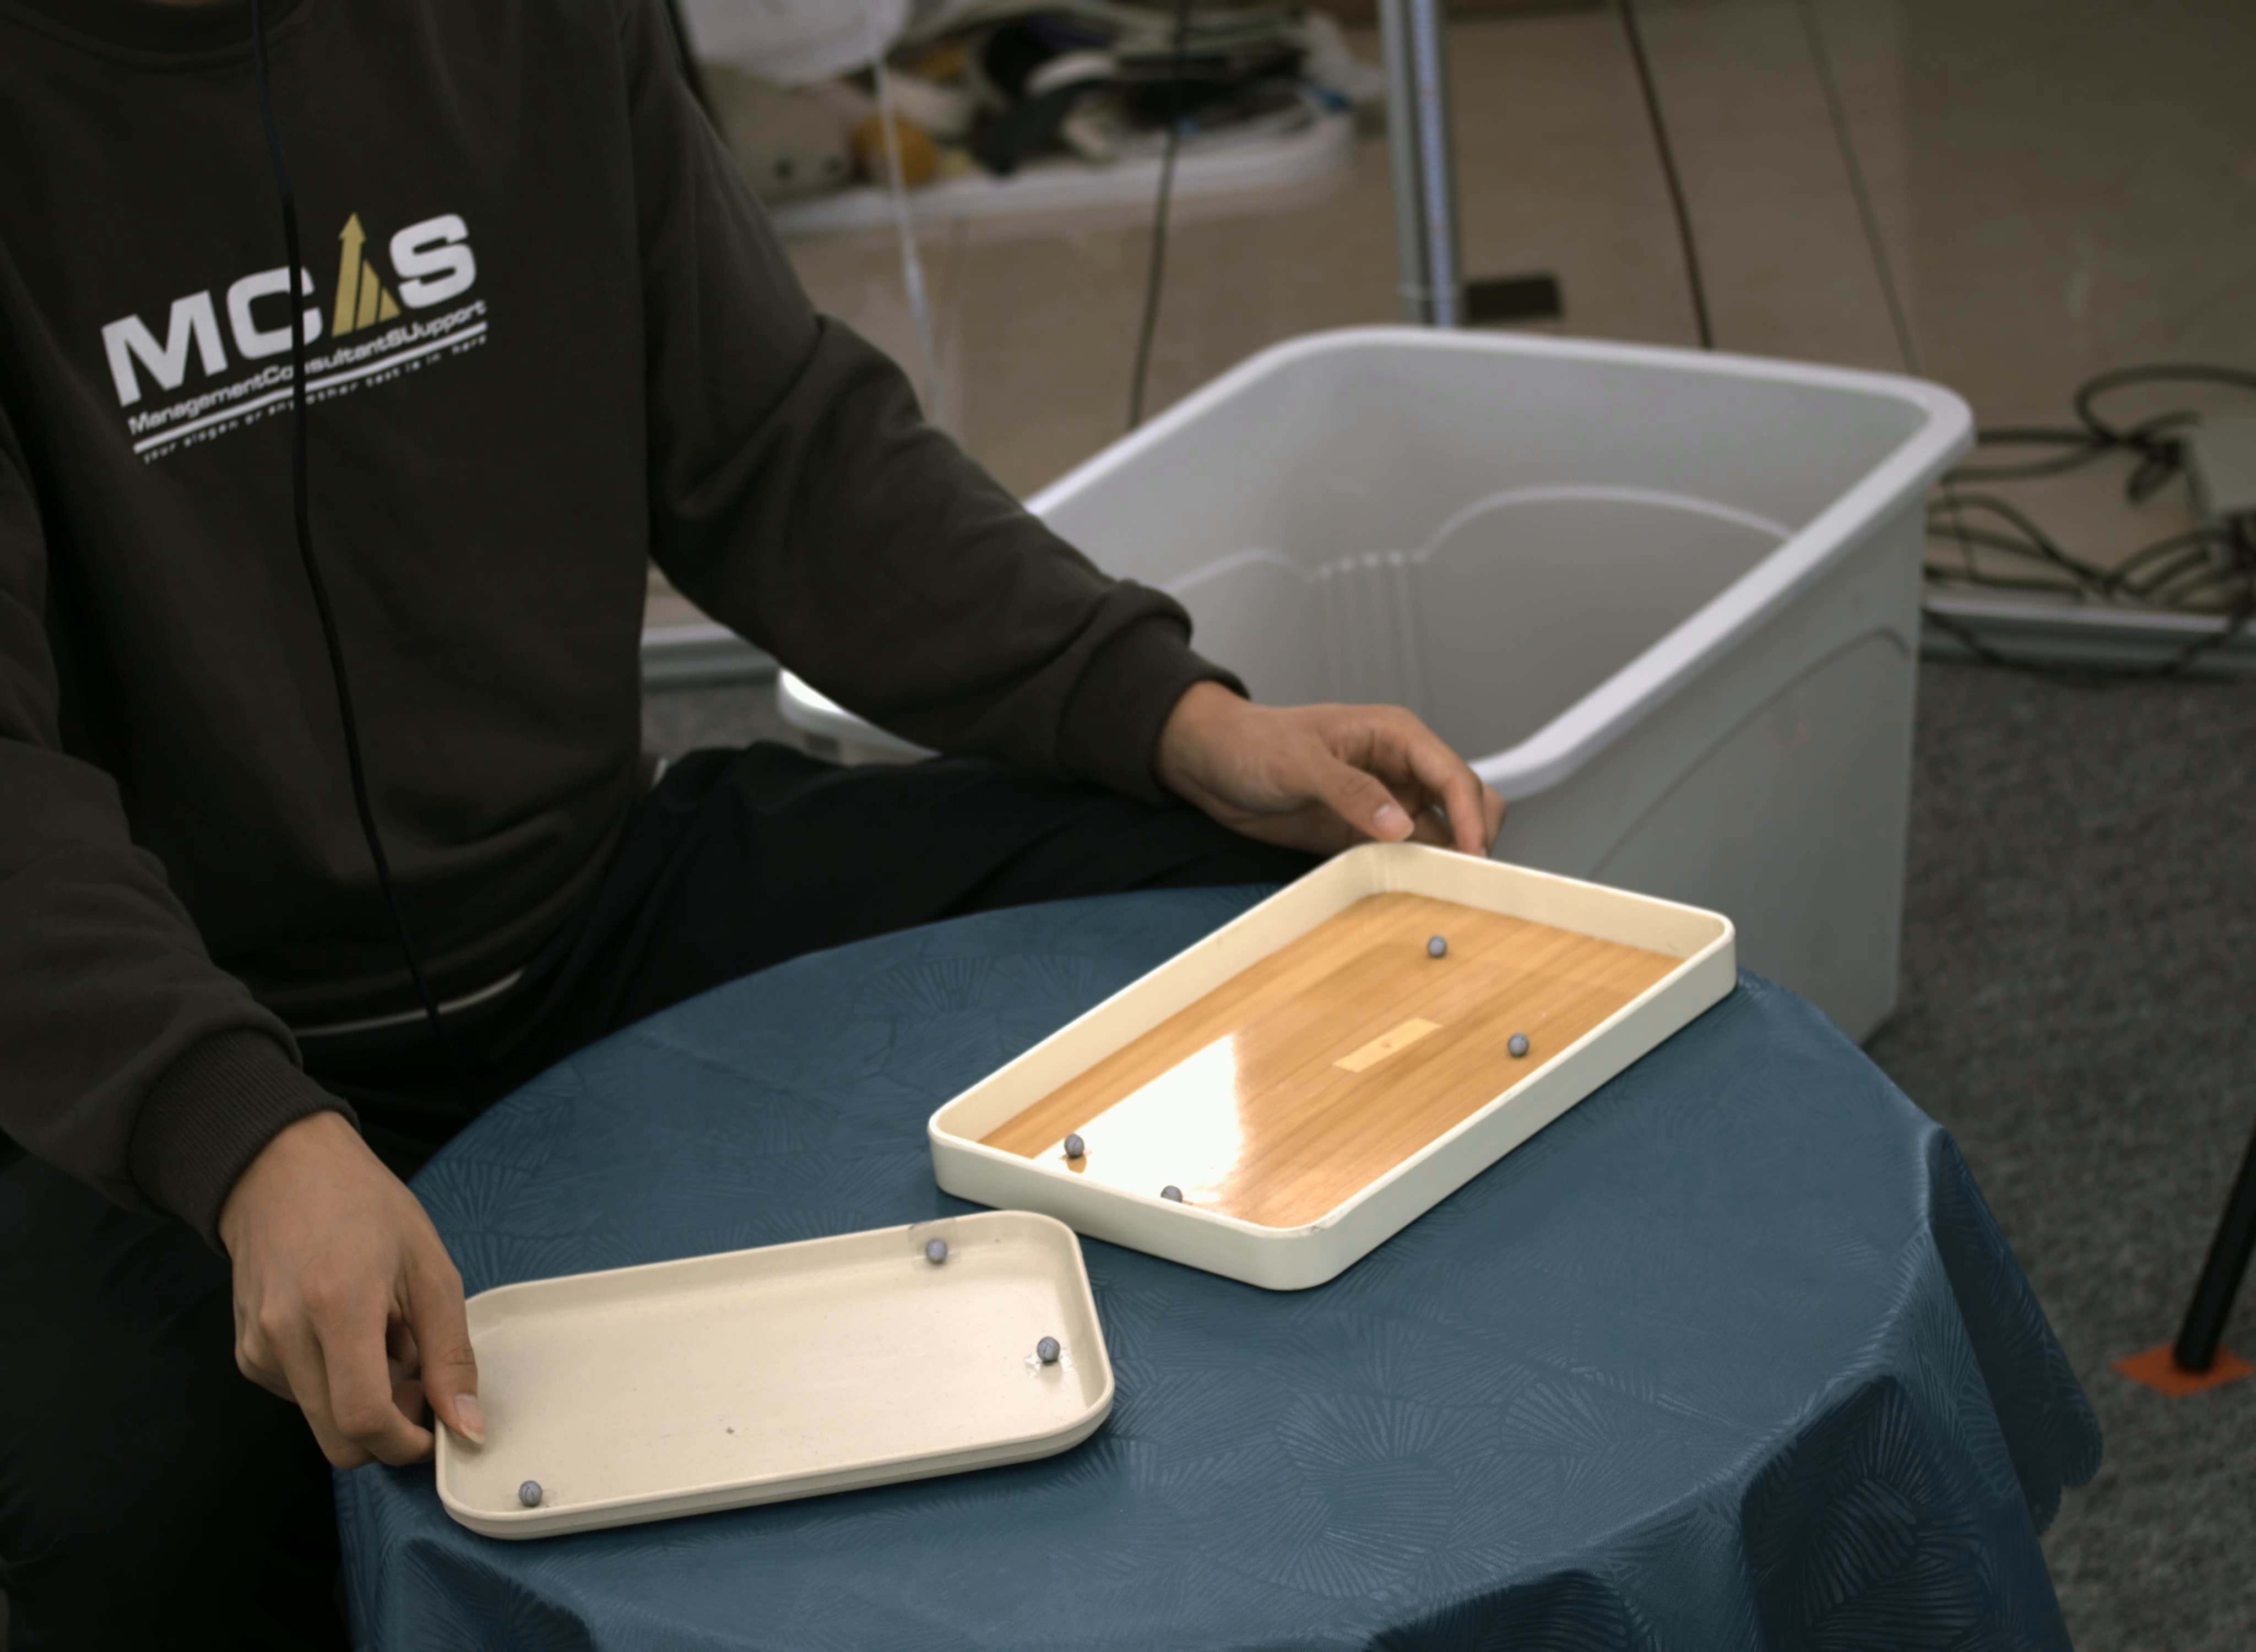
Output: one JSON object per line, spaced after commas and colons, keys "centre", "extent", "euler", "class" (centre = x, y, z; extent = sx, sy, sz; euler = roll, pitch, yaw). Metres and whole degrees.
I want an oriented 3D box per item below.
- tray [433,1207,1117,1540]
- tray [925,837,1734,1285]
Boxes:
{"centre": [-0.128, 0.196, 2.033], "extent": [0.239, 0.018, 0.169], "euler": [-8, 25, -4], "class": "tray"}
{"centre": [0.082, 0.087, 2.209], "extent": [0.190, 0.028, 0.297], "euler": [14, 31, 37], "class": "tray"}
